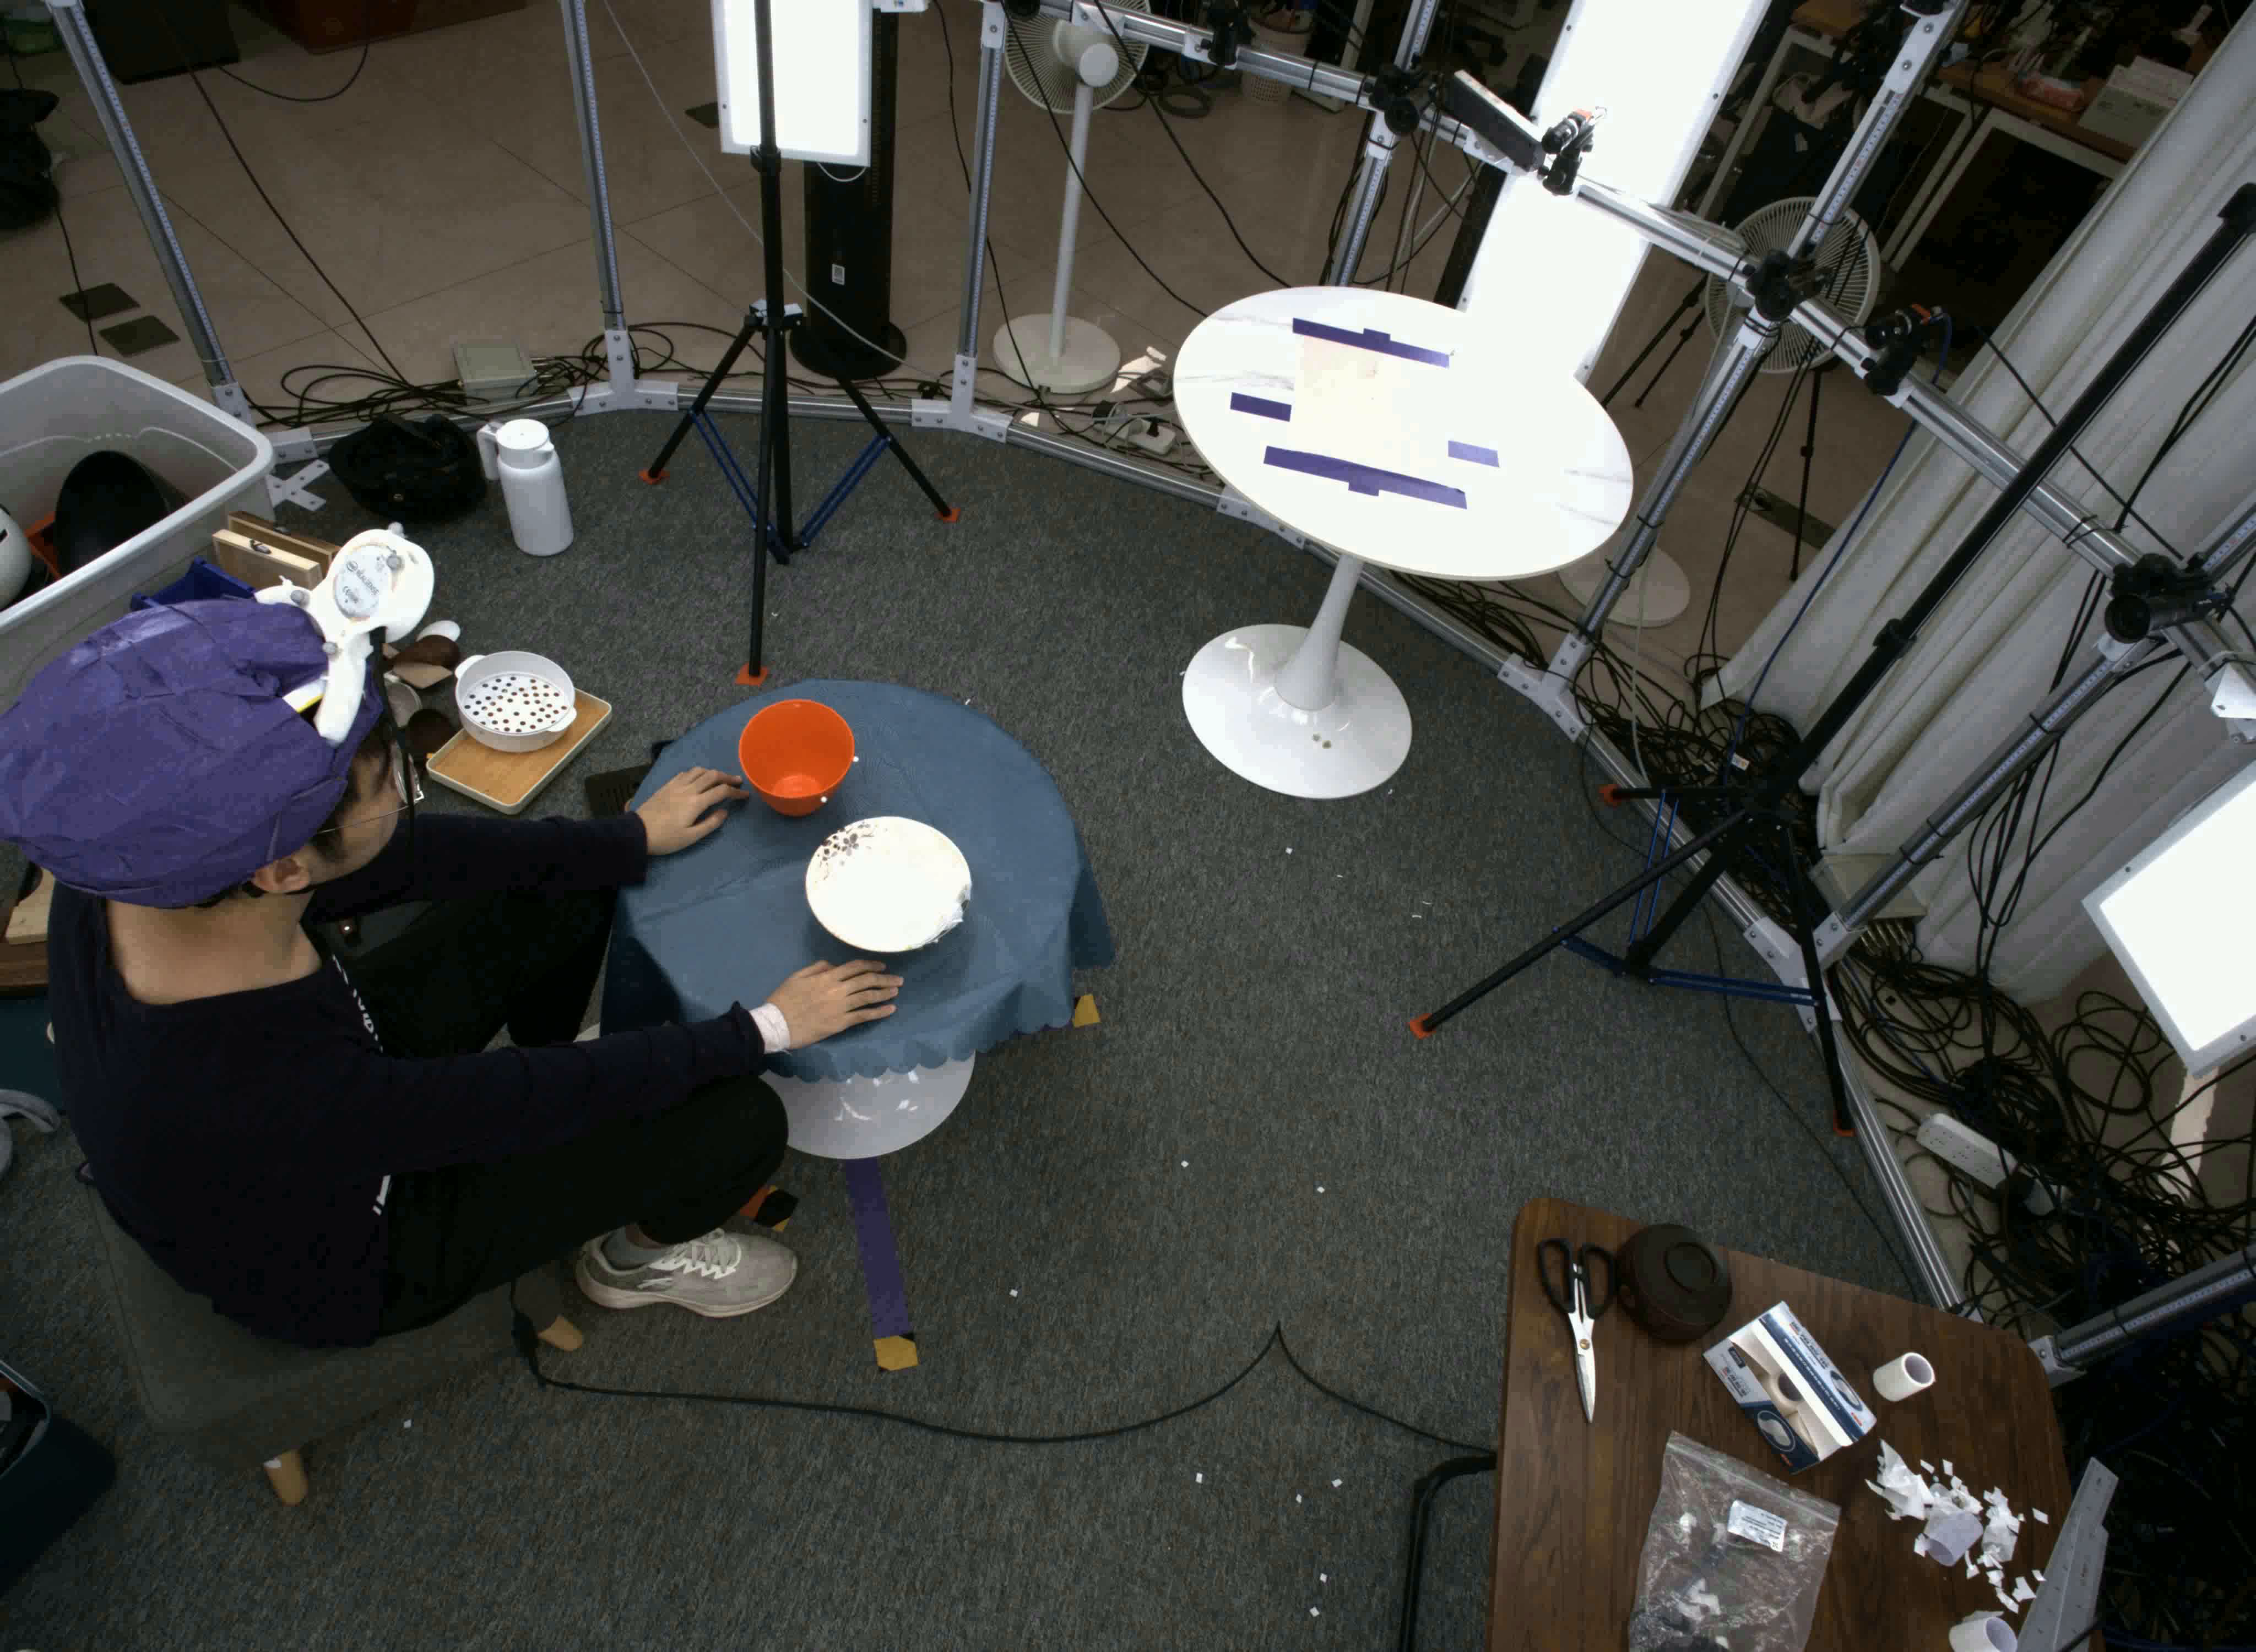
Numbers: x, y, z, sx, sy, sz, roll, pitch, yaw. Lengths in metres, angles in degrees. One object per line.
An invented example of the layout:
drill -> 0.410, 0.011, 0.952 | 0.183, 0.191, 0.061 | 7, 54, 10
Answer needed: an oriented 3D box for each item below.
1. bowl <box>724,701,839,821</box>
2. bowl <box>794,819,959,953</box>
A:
bowl -> -0.457, -0.075, 1.718 | 0.147, 0.107, 0.145 | 7, 54, -8
bowl -> -0.317, 0.093, 1.644 | 0.203, 0.079, 0.200 | 7, 52, -8
